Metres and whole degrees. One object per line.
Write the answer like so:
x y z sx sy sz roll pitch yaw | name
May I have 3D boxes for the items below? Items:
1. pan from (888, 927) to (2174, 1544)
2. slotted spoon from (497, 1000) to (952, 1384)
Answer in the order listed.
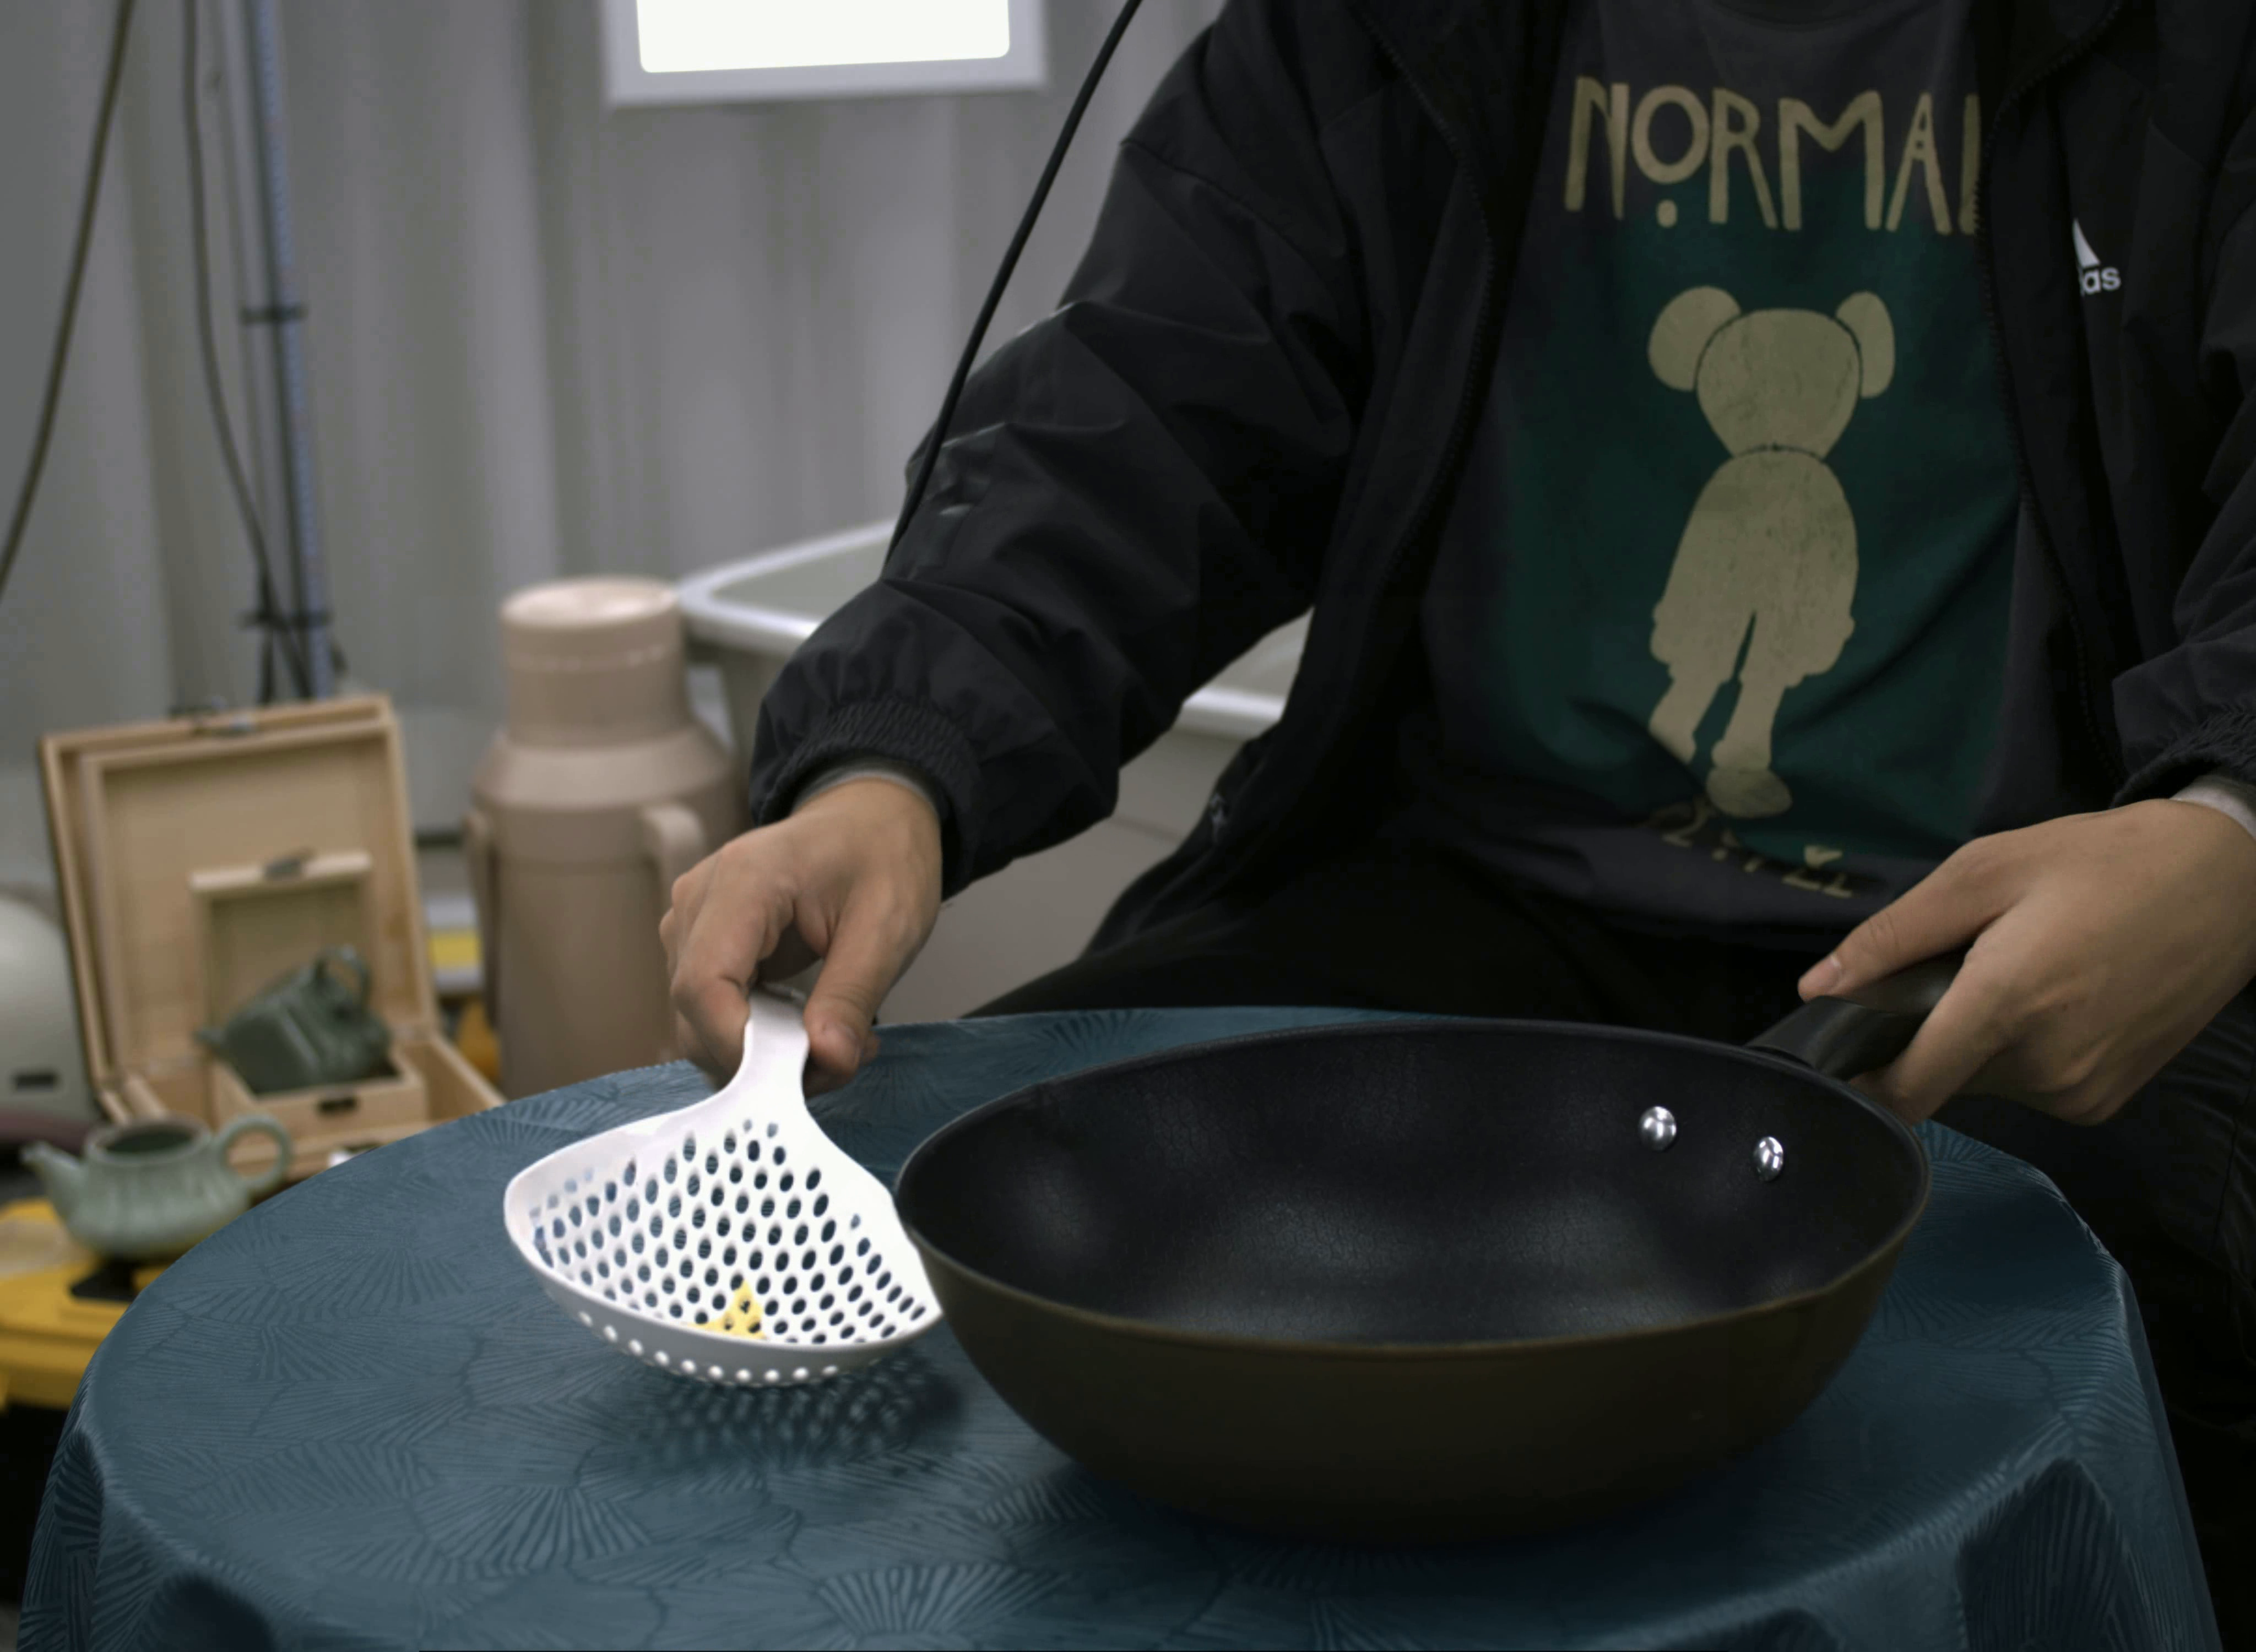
0.142 0.110 1.544 0.462 0.086 0.290 -15 19 -42 | pan
-0.115 0.099 1.676 0.136 0.050 0.351 10 19 -3 | slotted spoon
